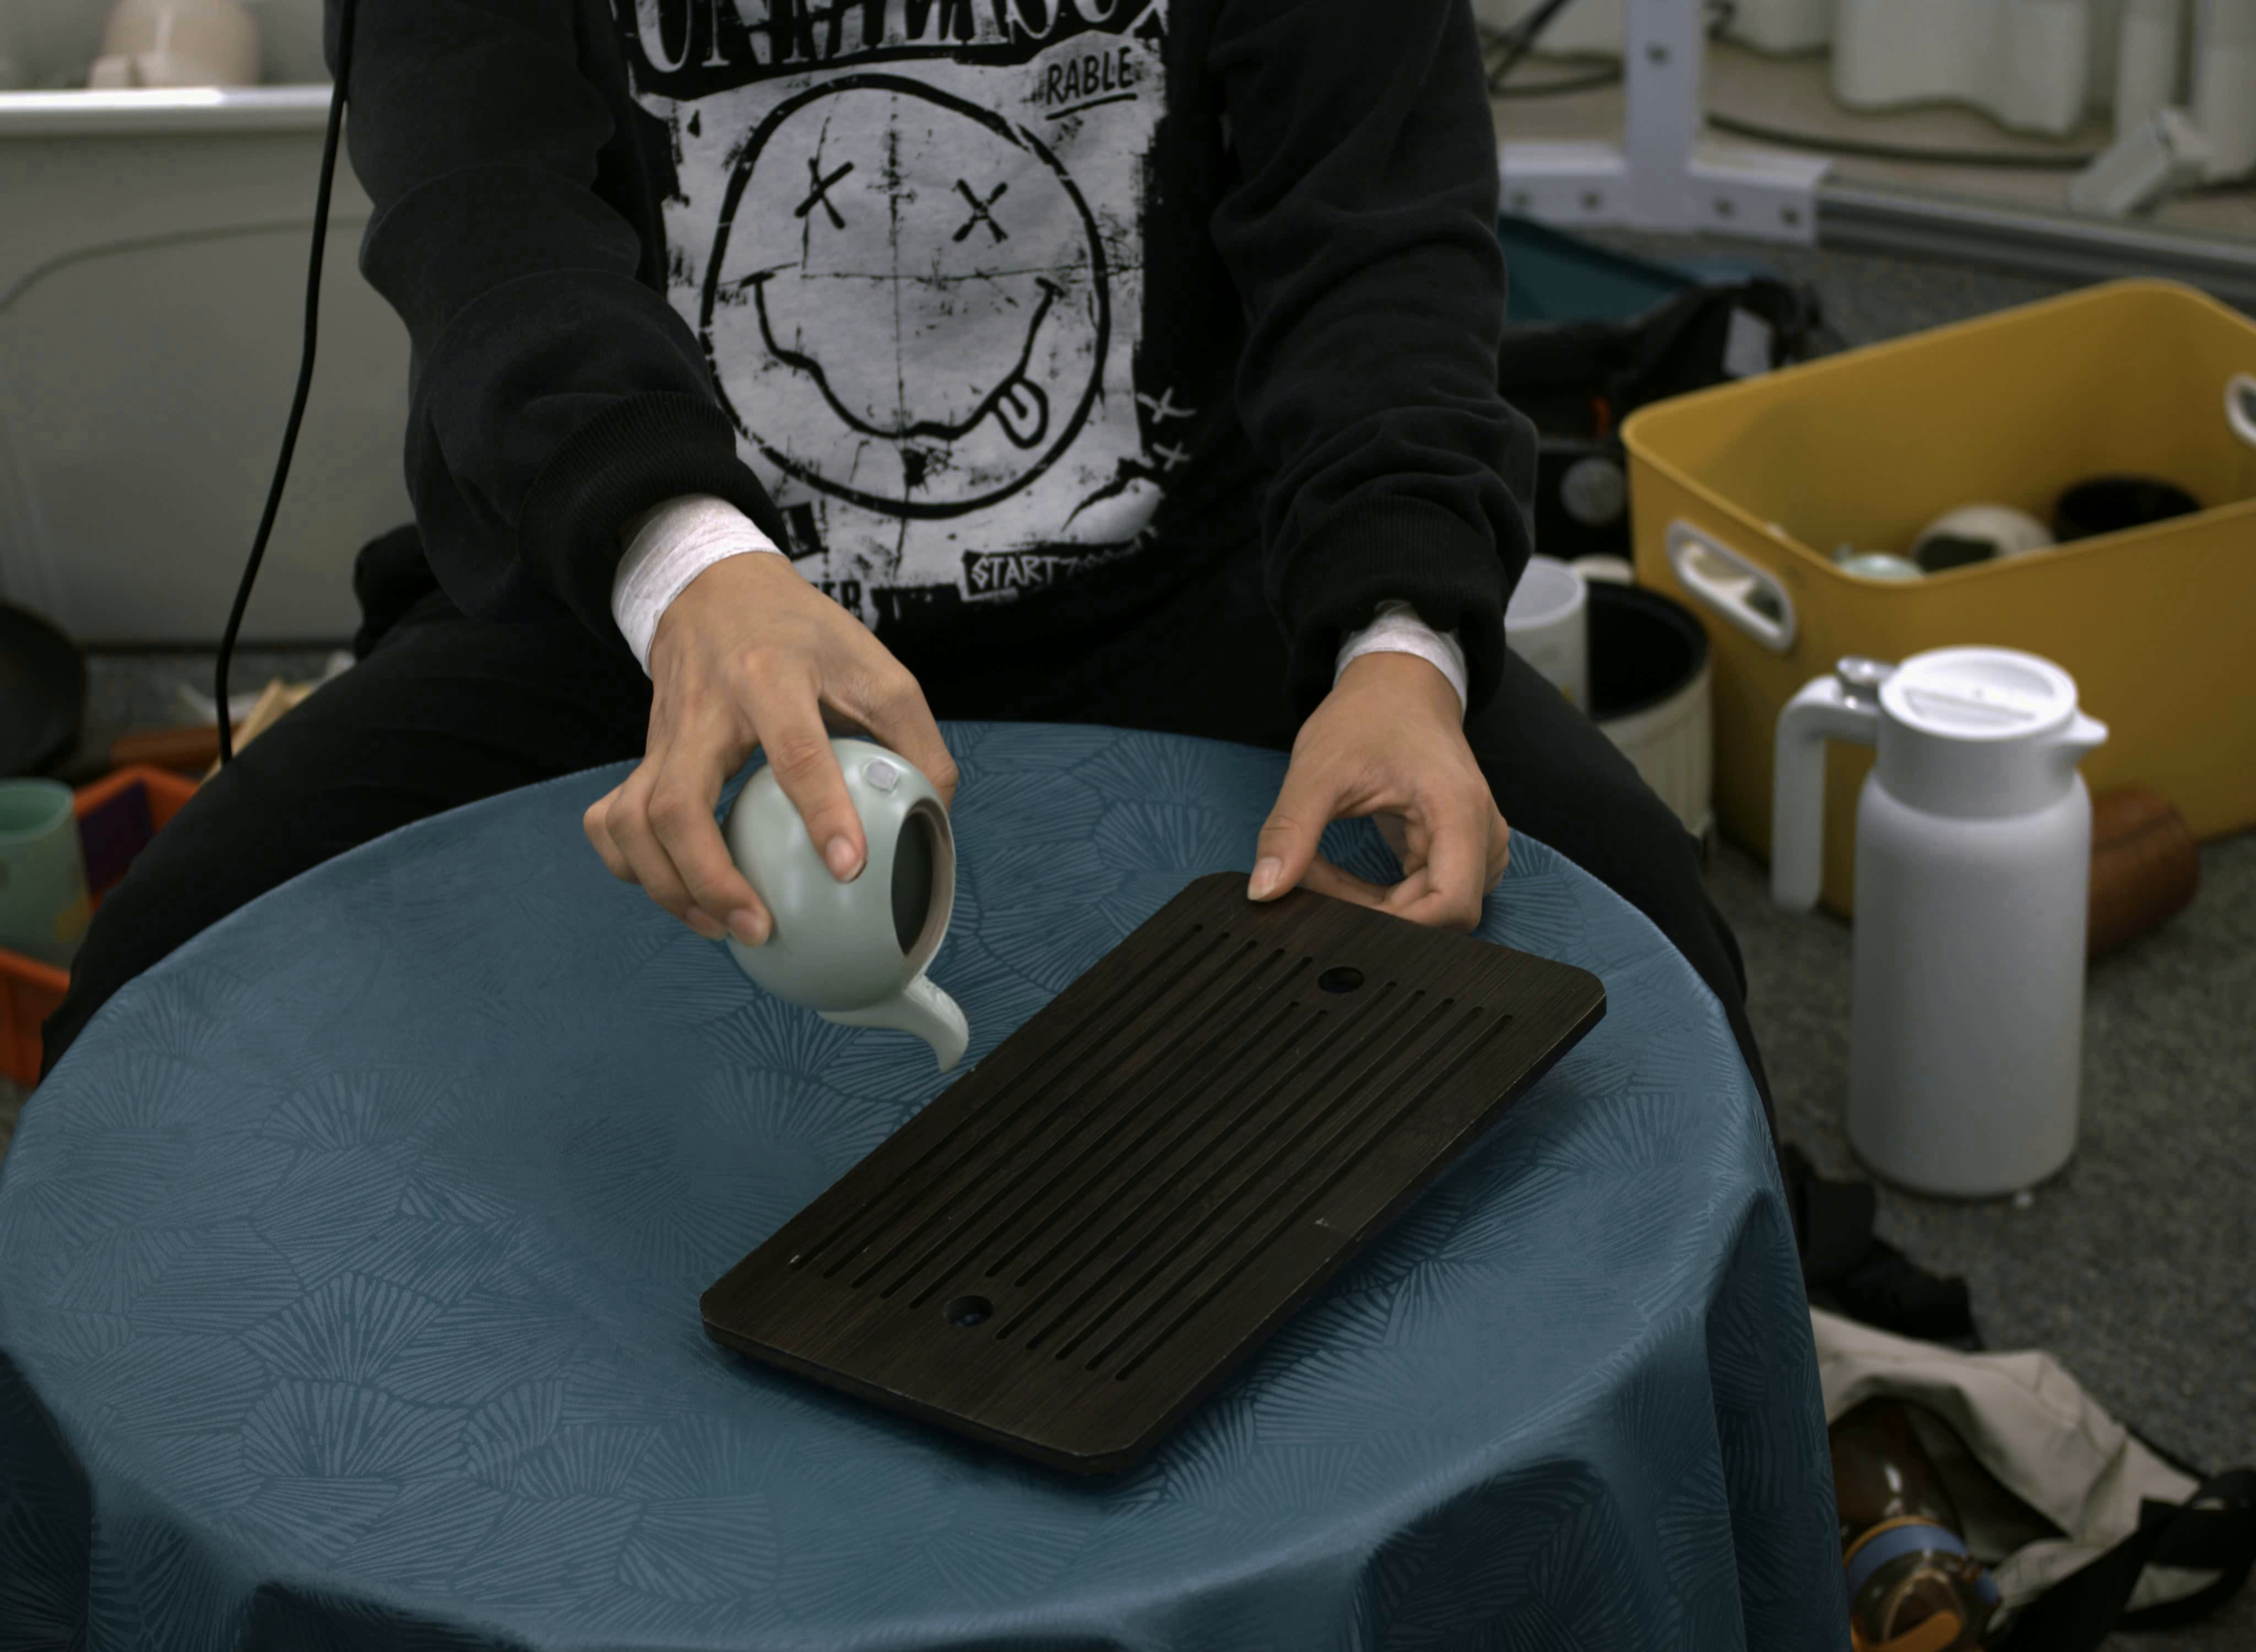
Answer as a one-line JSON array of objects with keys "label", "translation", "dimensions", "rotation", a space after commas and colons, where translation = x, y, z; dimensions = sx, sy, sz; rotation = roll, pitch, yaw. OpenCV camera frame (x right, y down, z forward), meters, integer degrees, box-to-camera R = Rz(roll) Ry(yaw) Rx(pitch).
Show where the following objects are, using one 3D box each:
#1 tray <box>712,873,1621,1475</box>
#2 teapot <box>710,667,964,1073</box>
[{"label": "tray", "translation": [0.017, 0.110, 1.840], "dimensions": [0.169, 0.018, 0.311], "rotation": [15, 36, 32]}, {"label": "teapot", "translation": [-0.093, 0.014, 1.808], "dimensions": [0.074, 0.142, 0.090], "rotation": [5, 26, 17]}]
